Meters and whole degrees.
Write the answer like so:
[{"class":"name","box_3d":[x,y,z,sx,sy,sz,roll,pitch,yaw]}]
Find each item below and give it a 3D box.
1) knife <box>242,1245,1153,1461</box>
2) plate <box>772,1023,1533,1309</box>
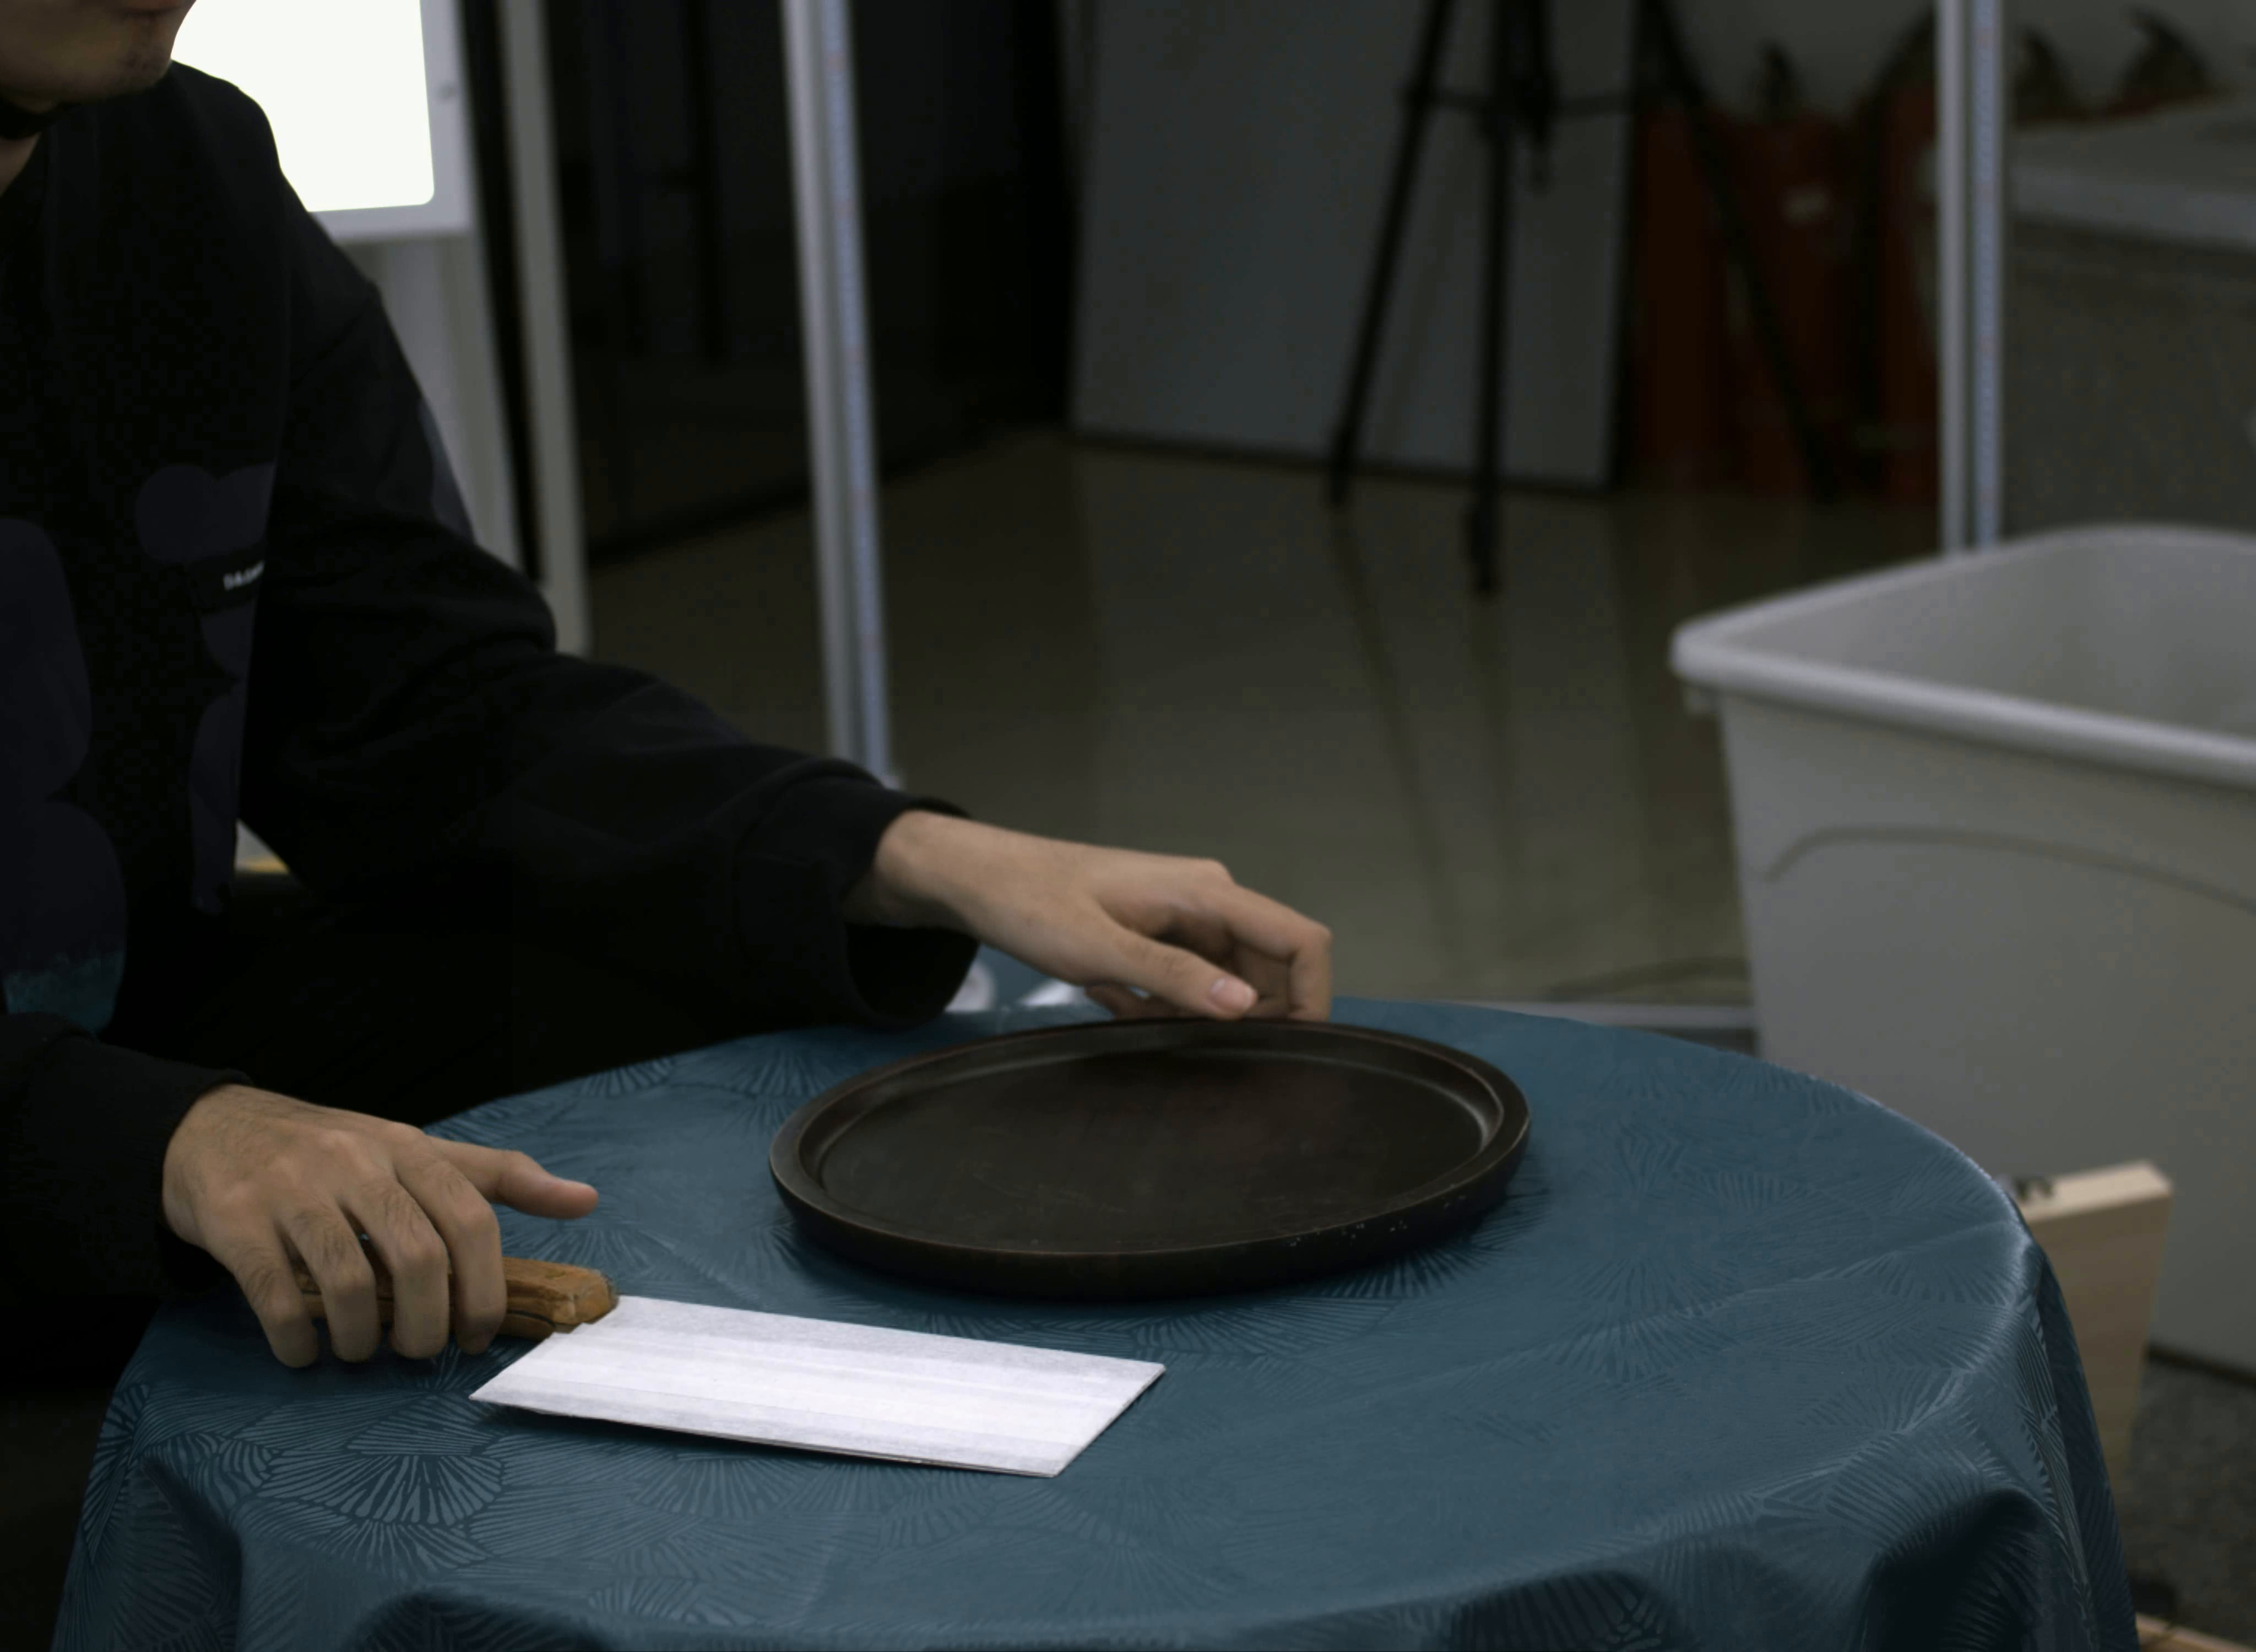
[{"class":"knife","box_3d":[-0.143,0.161,1.621,0.306,0.021,0.092,4,18,23]},{"class":"plate","box_3d":[0.008,0.108,1.767,0.251,0.029,0.255,-4,15,0]}]
